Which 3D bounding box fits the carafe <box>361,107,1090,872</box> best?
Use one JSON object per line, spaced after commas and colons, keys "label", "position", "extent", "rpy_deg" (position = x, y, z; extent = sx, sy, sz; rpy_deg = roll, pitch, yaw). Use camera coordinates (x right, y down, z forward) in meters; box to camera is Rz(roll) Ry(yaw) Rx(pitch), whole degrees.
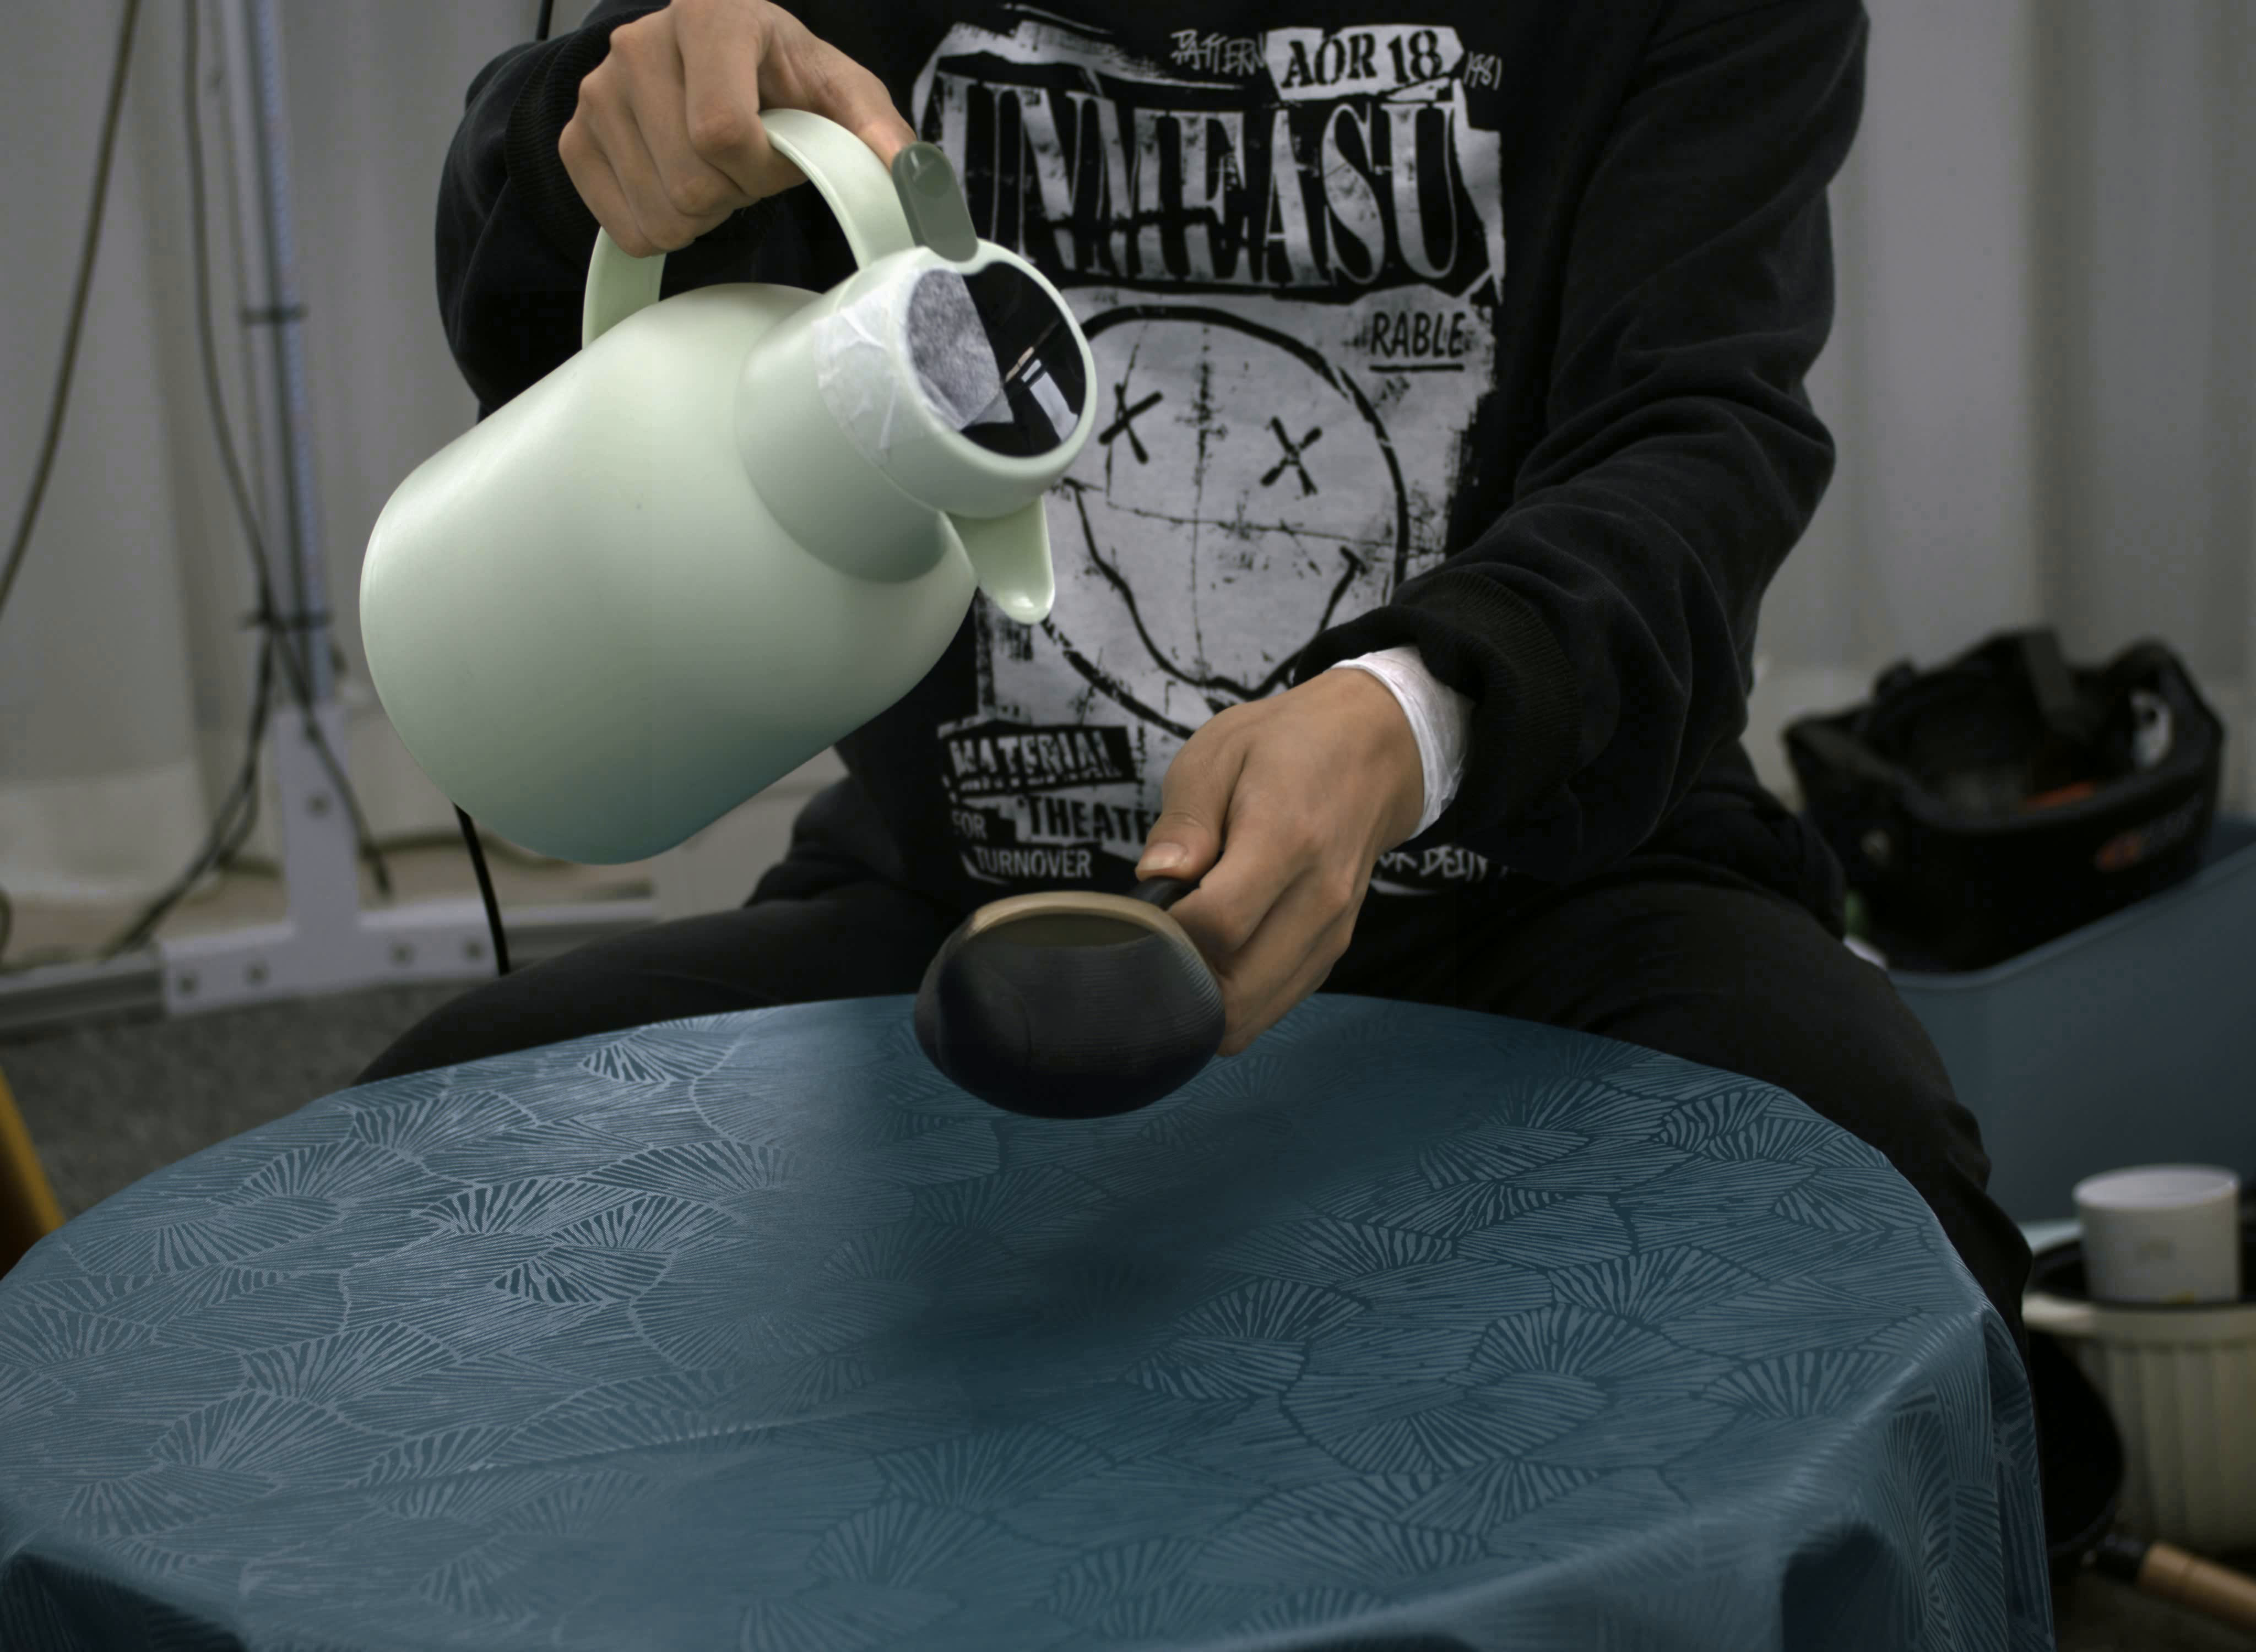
{"label": "carafe", "position": [-0.119, -0.106, 1.651], "extent": [0.144, 0.188, 0.255], "rpy_deg": [-12, -16, -42]}

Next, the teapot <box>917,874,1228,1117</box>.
{"label": "teapot", "position": [-0.015, 0.051, 1.585], "extent": [0.091, 0.053, 0.133], "rpy_deg": [12, 20, 31]}
